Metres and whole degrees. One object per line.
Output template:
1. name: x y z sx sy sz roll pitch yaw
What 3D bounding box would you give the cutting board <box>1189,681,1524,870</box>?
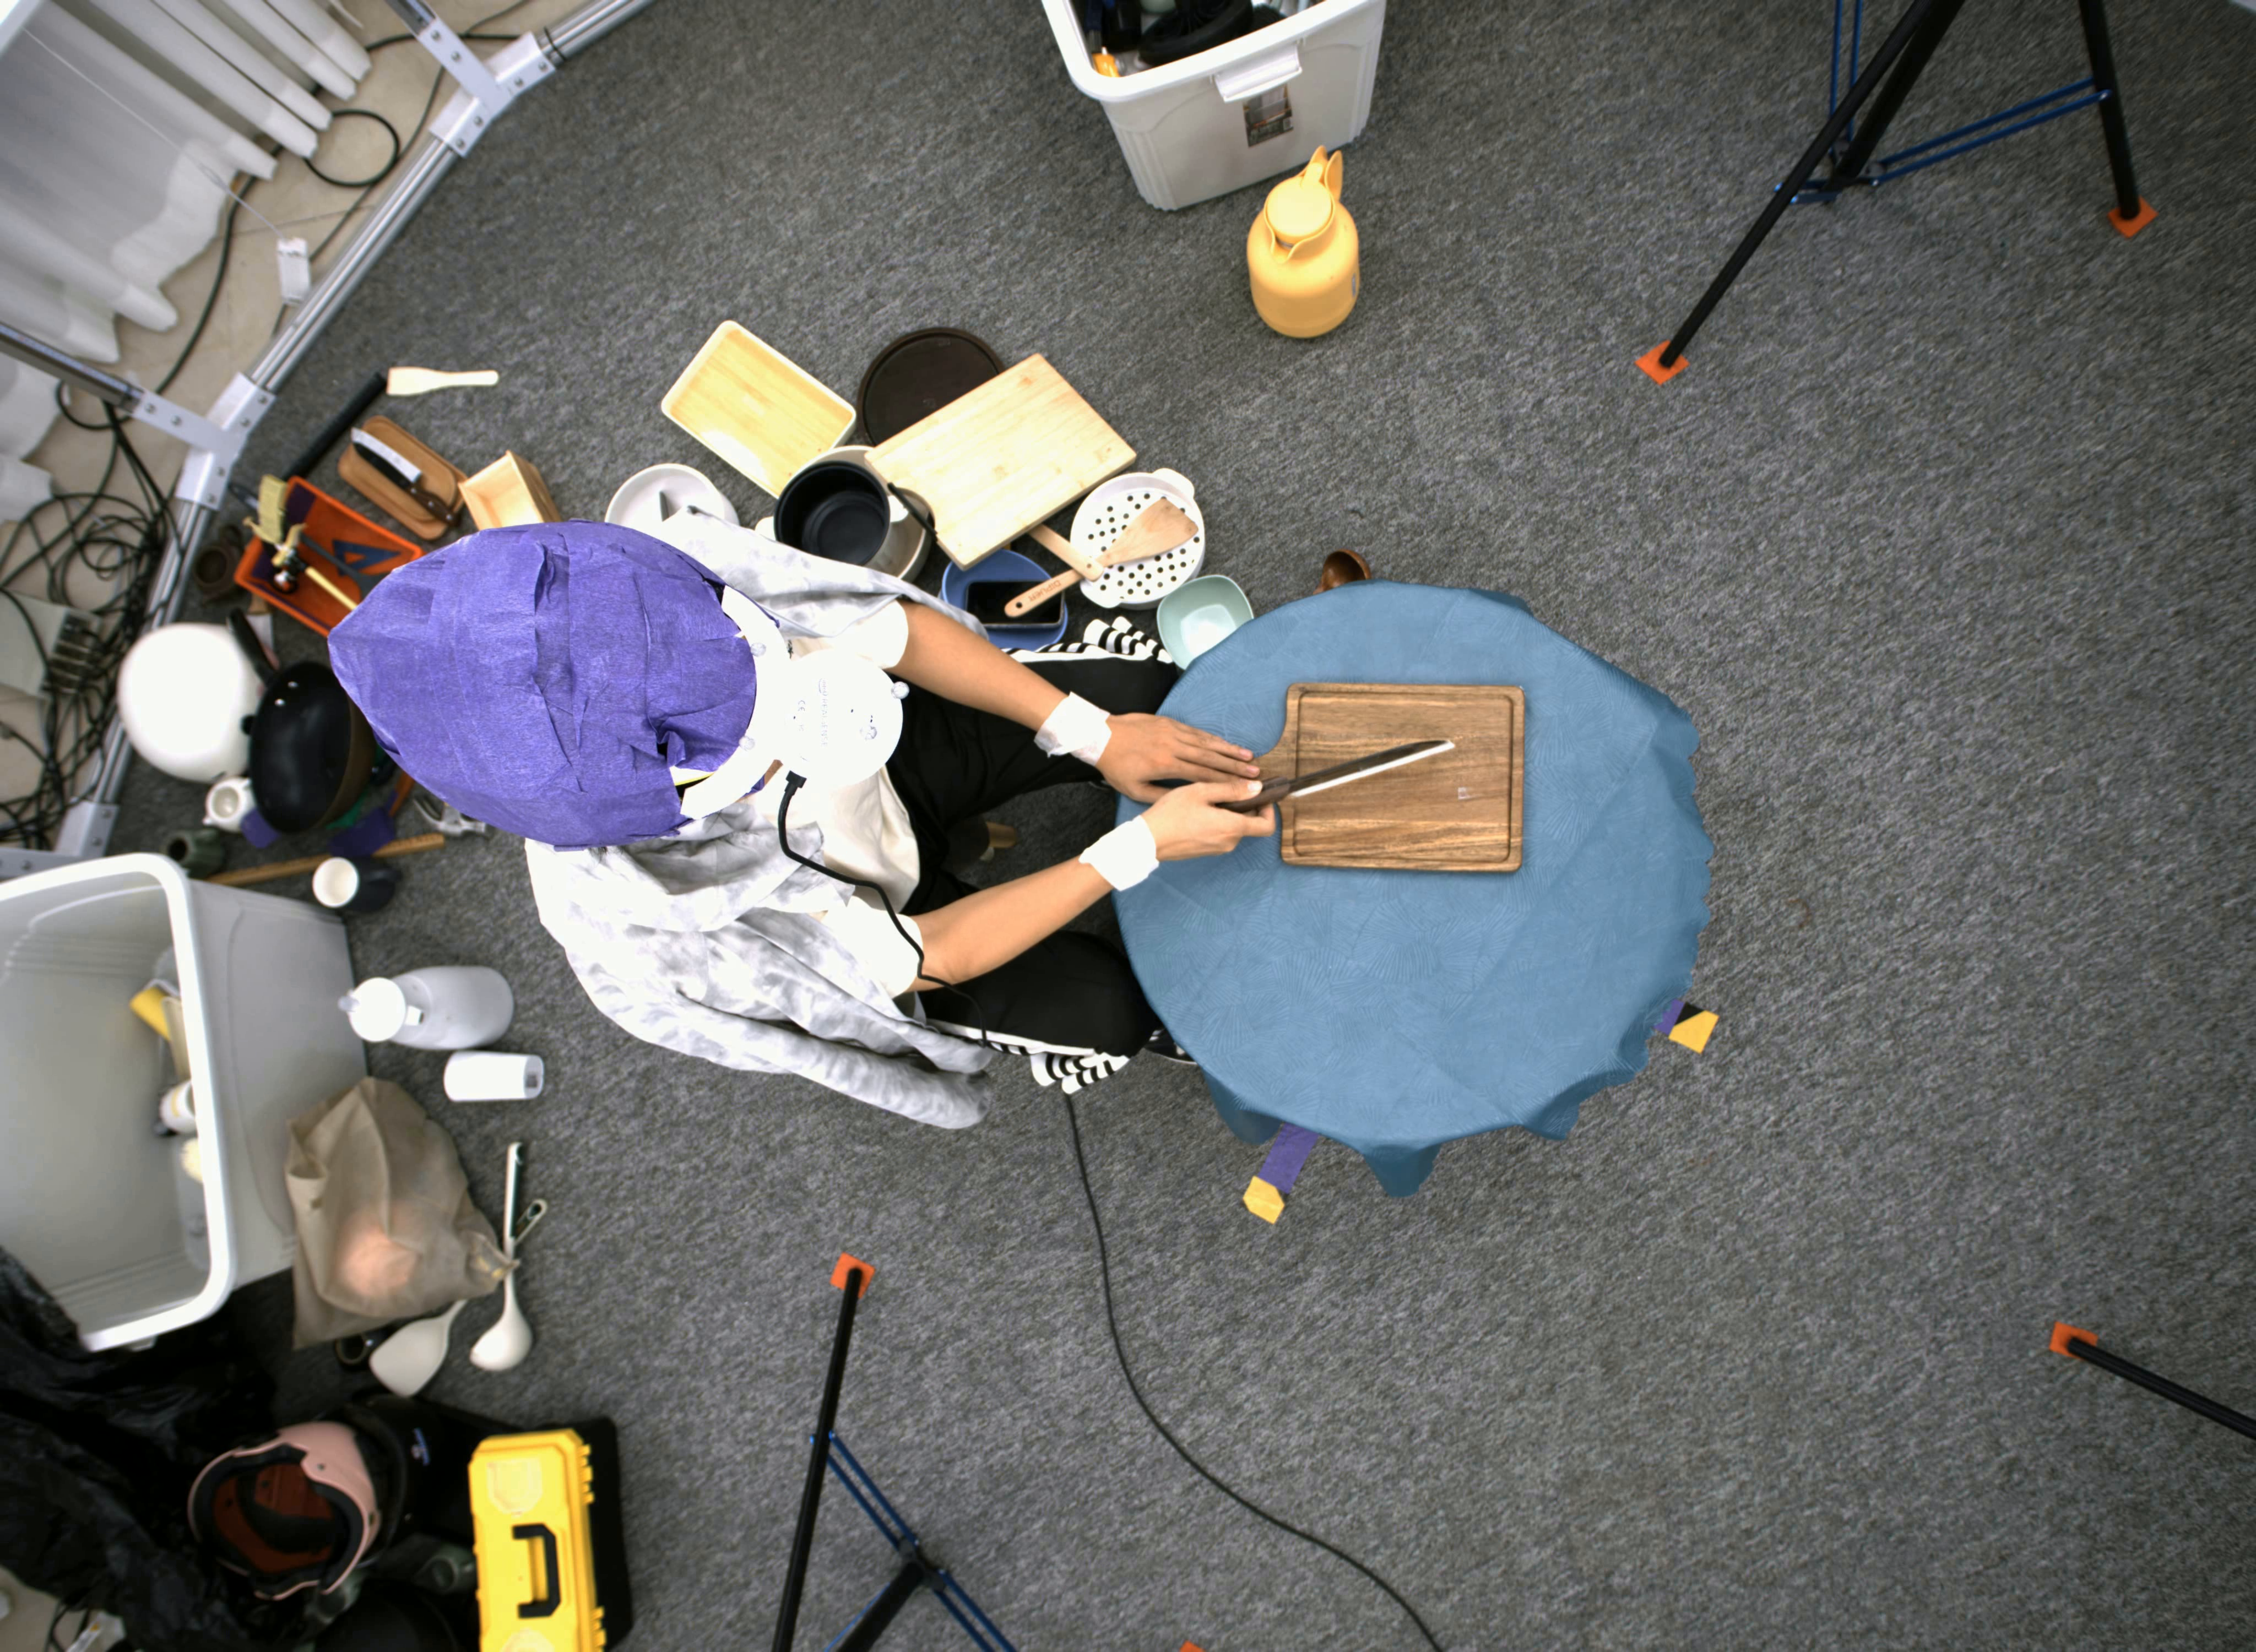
1. cutting board: 0.240 -0.056 1.462 0.353 0.023 0.200 1 89 11

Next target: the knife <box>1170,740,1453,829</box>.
1. knife: 0.190 -0.046 1.419 0.301 0.068 0.023 -17 76 7
